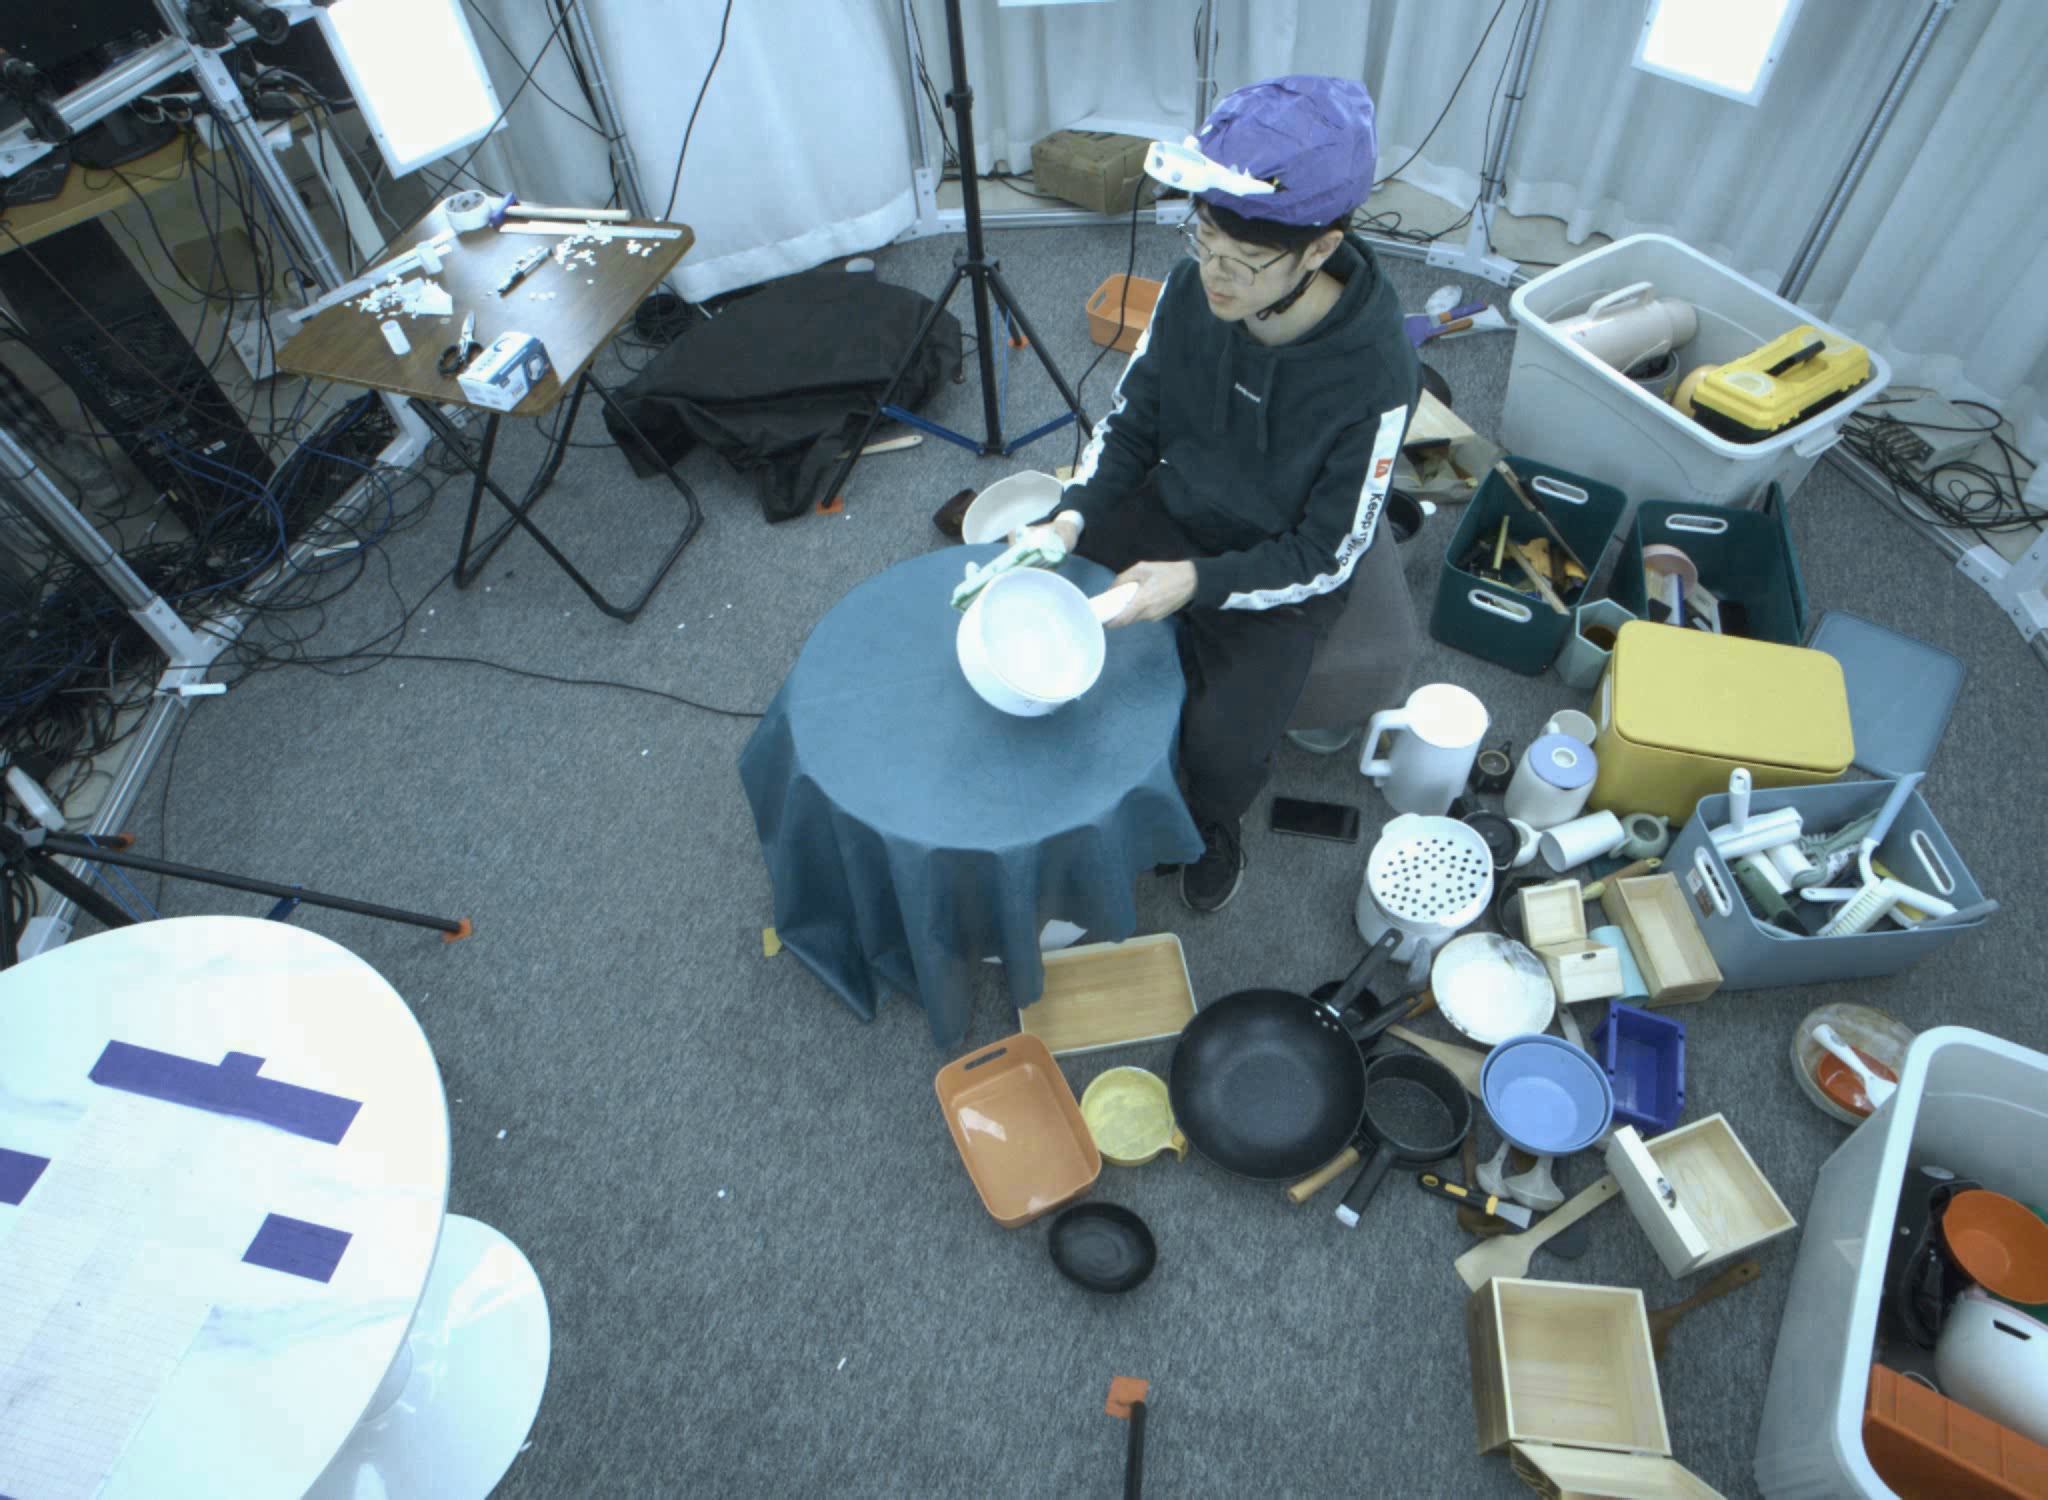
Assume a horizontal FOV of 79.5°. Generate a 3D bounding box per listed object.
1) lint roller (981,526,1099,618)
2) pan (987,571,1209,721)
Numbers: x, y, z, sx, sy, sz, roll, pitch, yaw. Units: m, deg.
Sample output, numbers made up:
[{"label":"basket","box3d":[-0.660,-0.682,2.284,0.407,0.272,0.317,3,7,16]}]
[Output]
[{"label":"lint roller","box3d":[0.045,-0.283,1.816,0.082,0.196,0.185,56,42,-6]},{"label":"pan","box3d":[0.108,-0.168,1.769,0.360,0.101,0.200,-24,85,-32]}]
